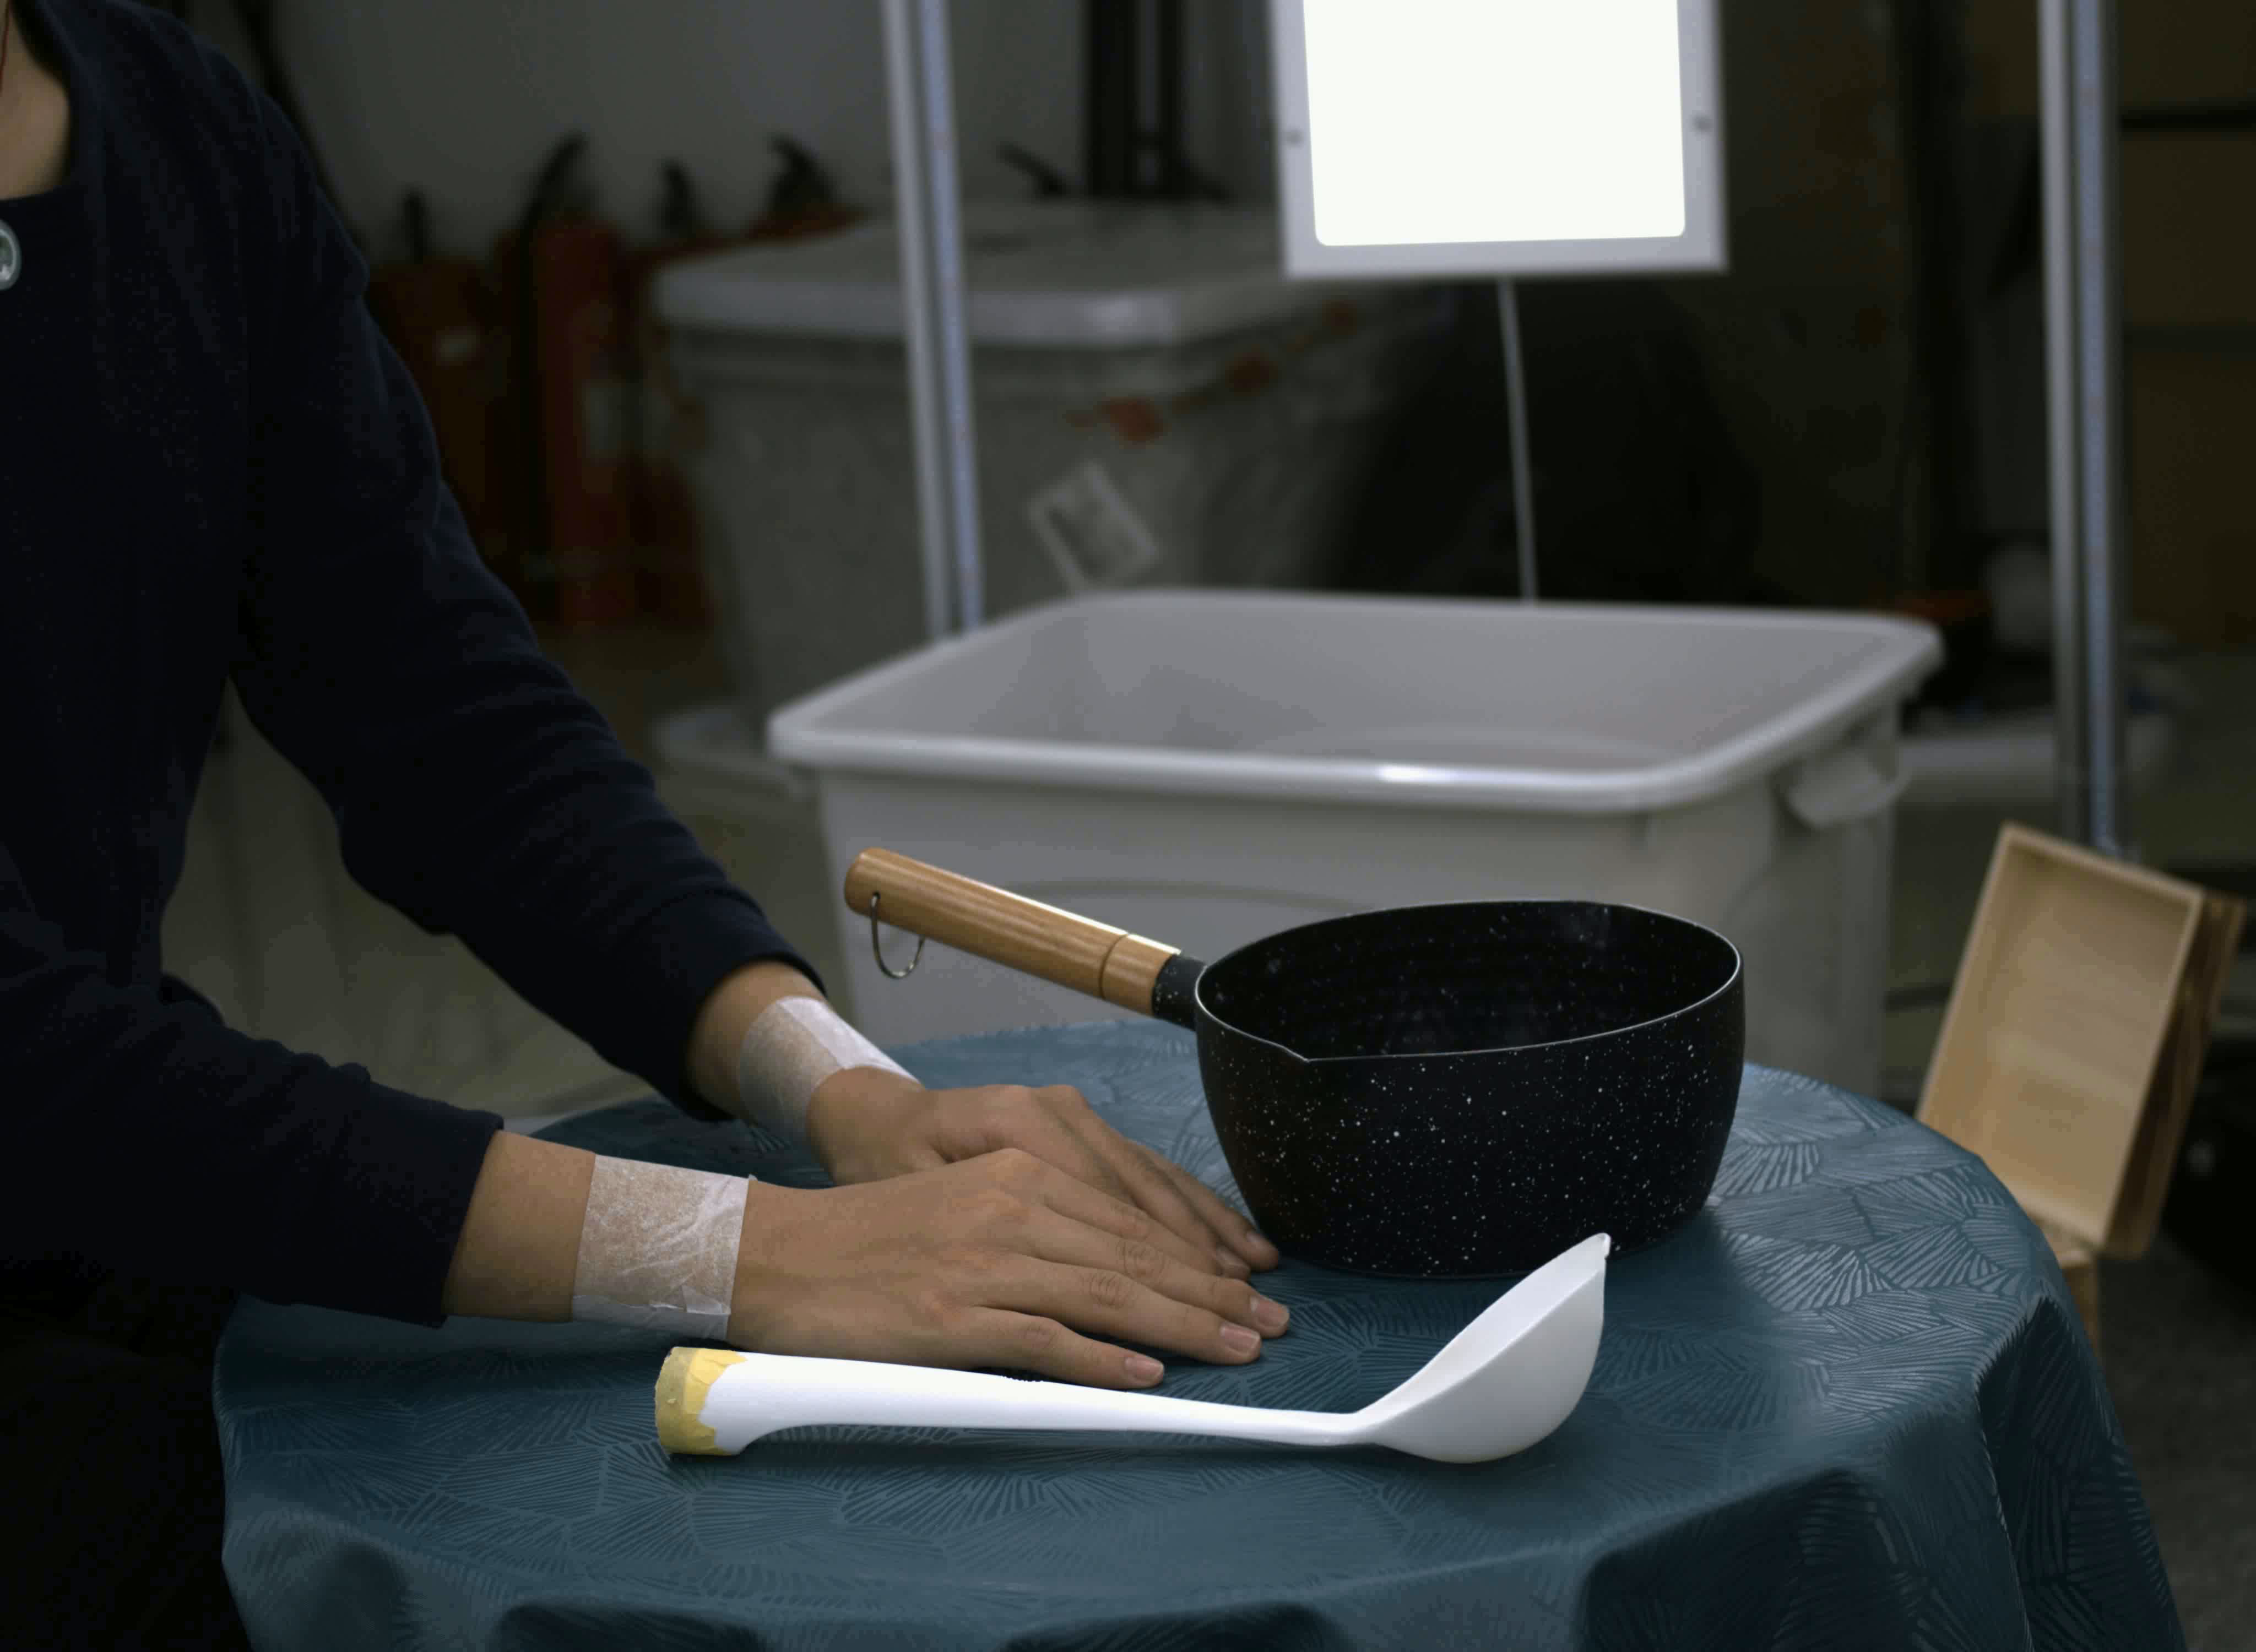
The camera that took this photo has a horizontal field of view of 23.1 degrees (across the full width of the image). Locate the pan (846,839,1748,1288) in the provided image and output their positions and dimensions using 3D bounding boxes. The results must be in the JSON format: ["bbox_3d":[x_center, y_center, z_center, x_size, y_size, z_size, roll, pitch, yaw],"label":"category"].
[{"bbox_3d":[0.048,0.072,1.874,0.349,0.108,0.202,5,18,33],"label":"pan"}]

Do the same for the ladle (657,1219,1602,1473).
[{"bbox_3d":[-0.001,0.158,1.633,0.296,0.070,0.089,-2,19,17],"label":"ladle"}]
